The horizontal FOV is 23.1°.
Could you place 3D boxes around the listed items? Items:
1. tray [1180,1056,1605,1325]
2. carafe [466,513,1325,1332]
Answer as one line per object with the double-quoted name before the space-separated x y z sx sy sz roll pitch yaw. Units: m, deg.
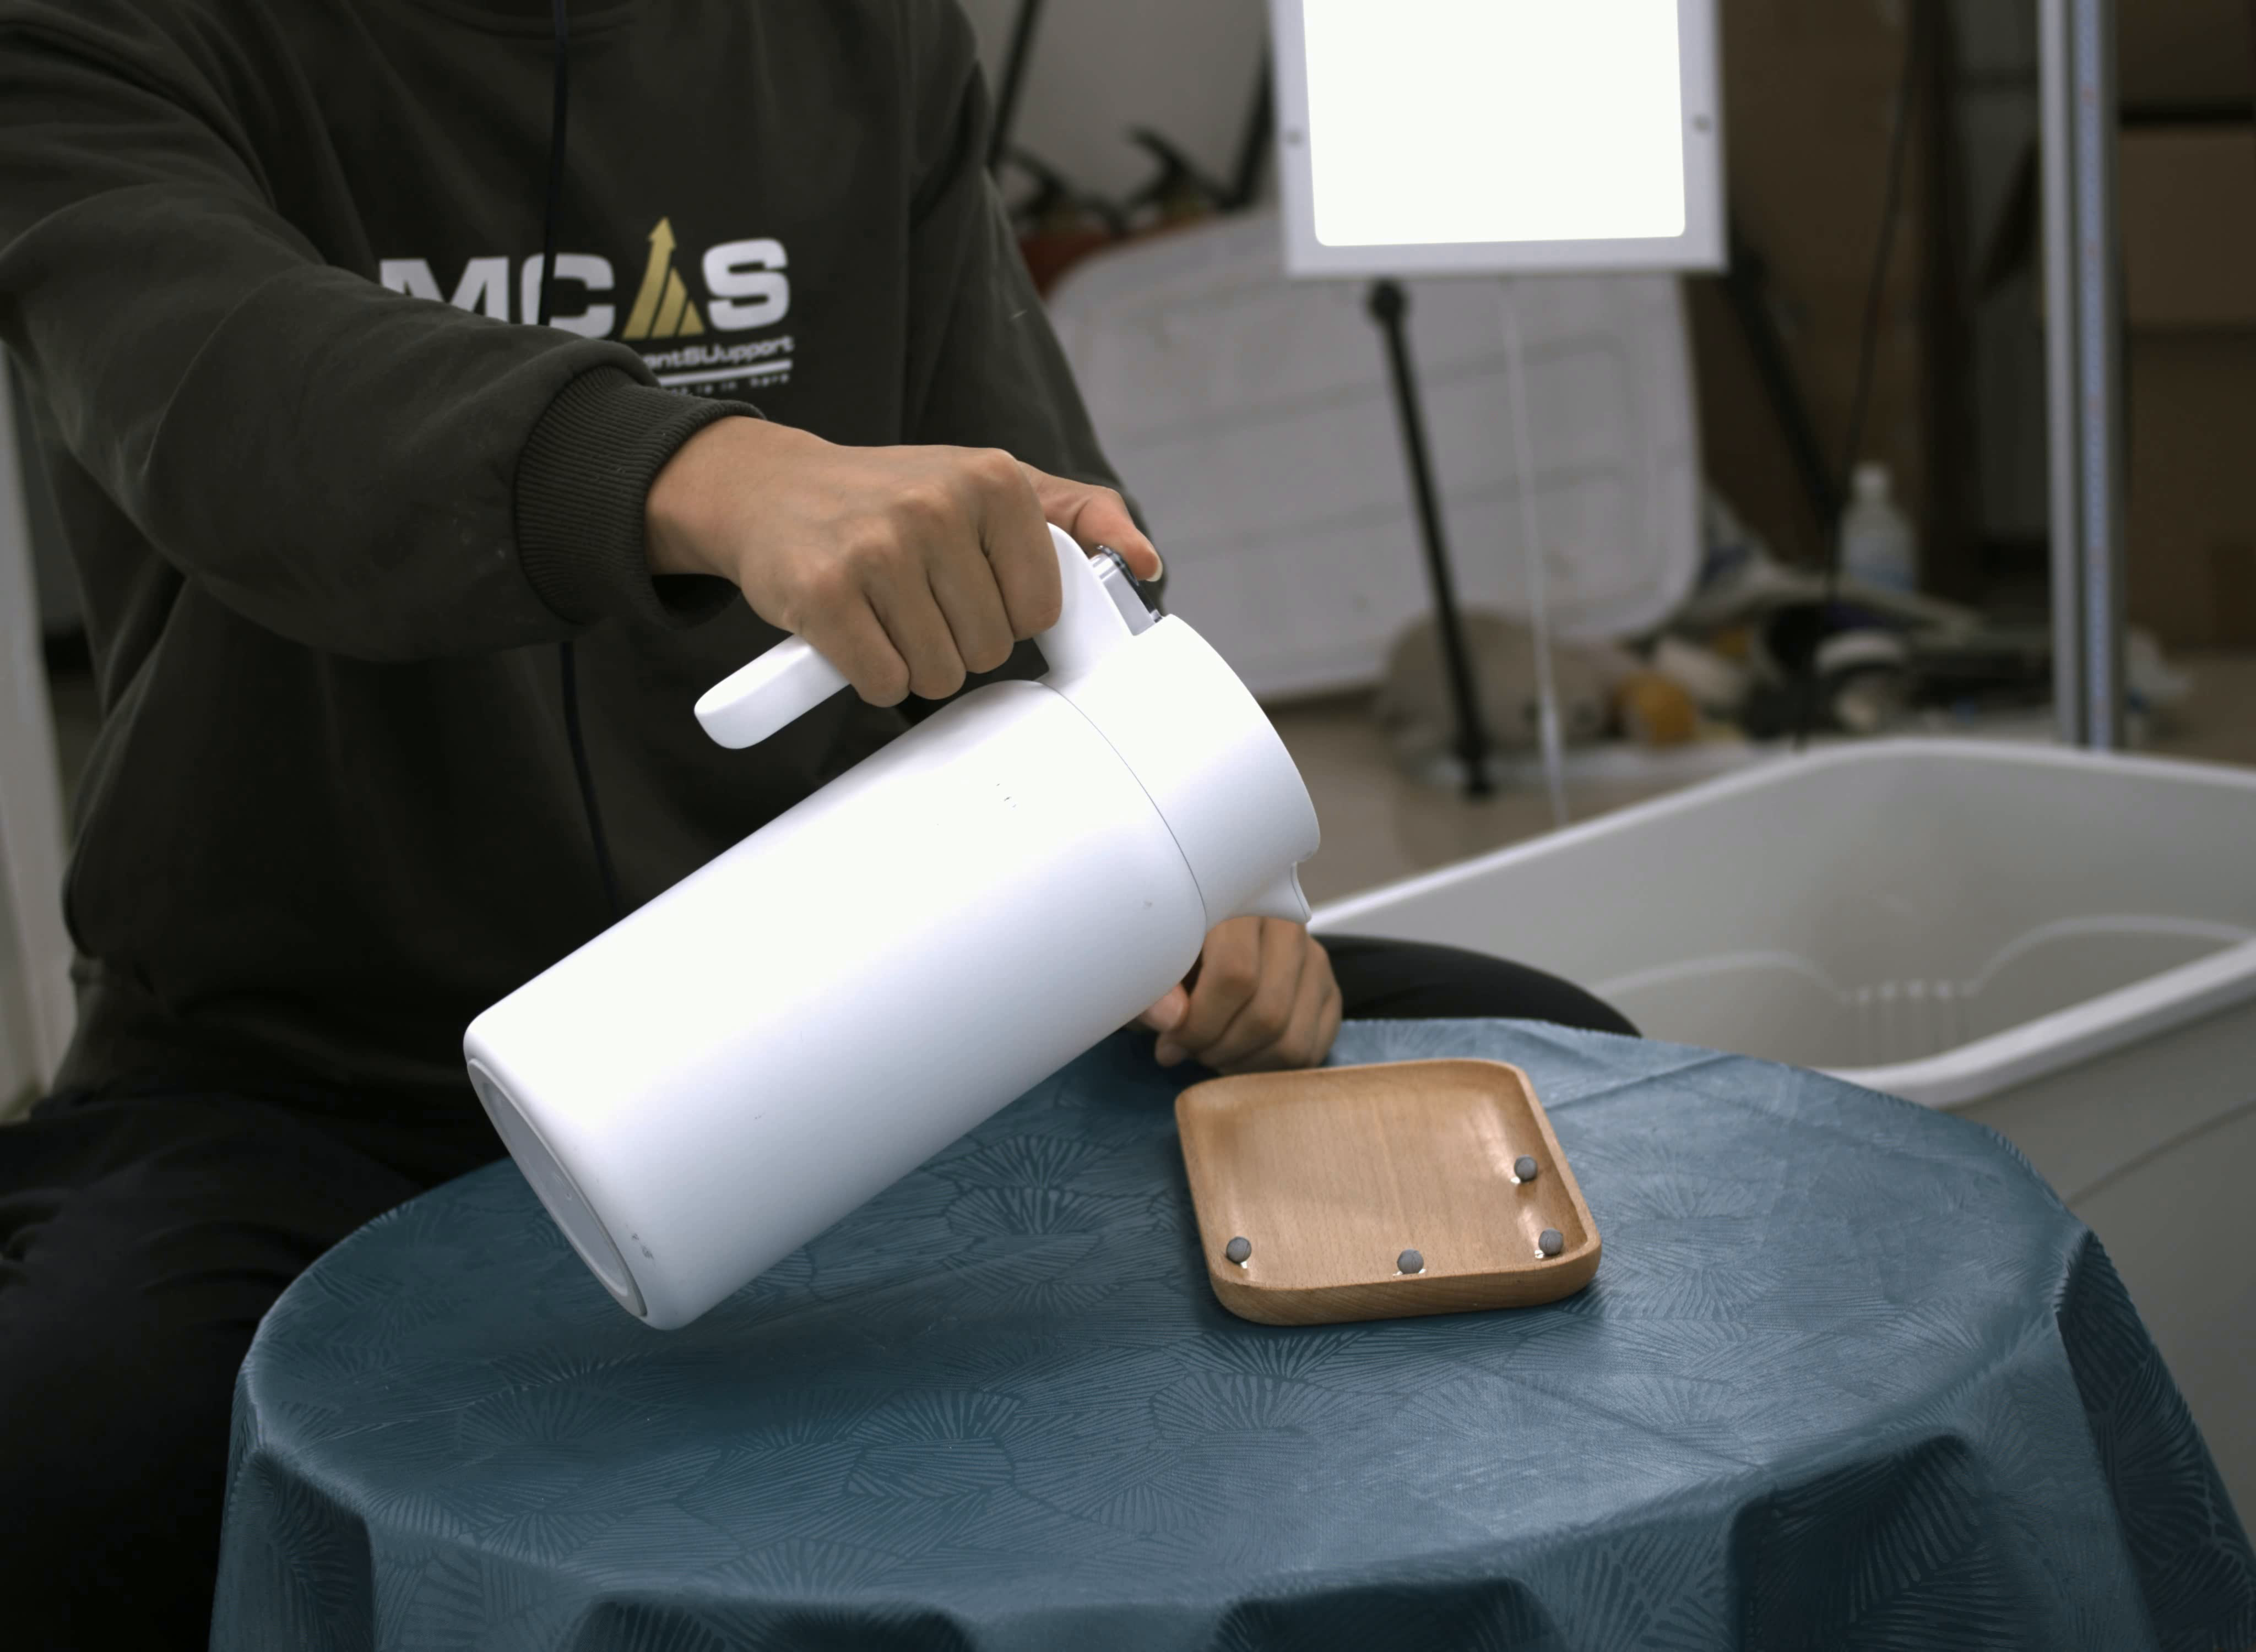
"tray" 0.086 0.121 1.859 0.130 0.023 0.250 -3 13 0
"carafe" -0.080 0.027 1.745 0.266 0.172 0.125 -34 17 -10
